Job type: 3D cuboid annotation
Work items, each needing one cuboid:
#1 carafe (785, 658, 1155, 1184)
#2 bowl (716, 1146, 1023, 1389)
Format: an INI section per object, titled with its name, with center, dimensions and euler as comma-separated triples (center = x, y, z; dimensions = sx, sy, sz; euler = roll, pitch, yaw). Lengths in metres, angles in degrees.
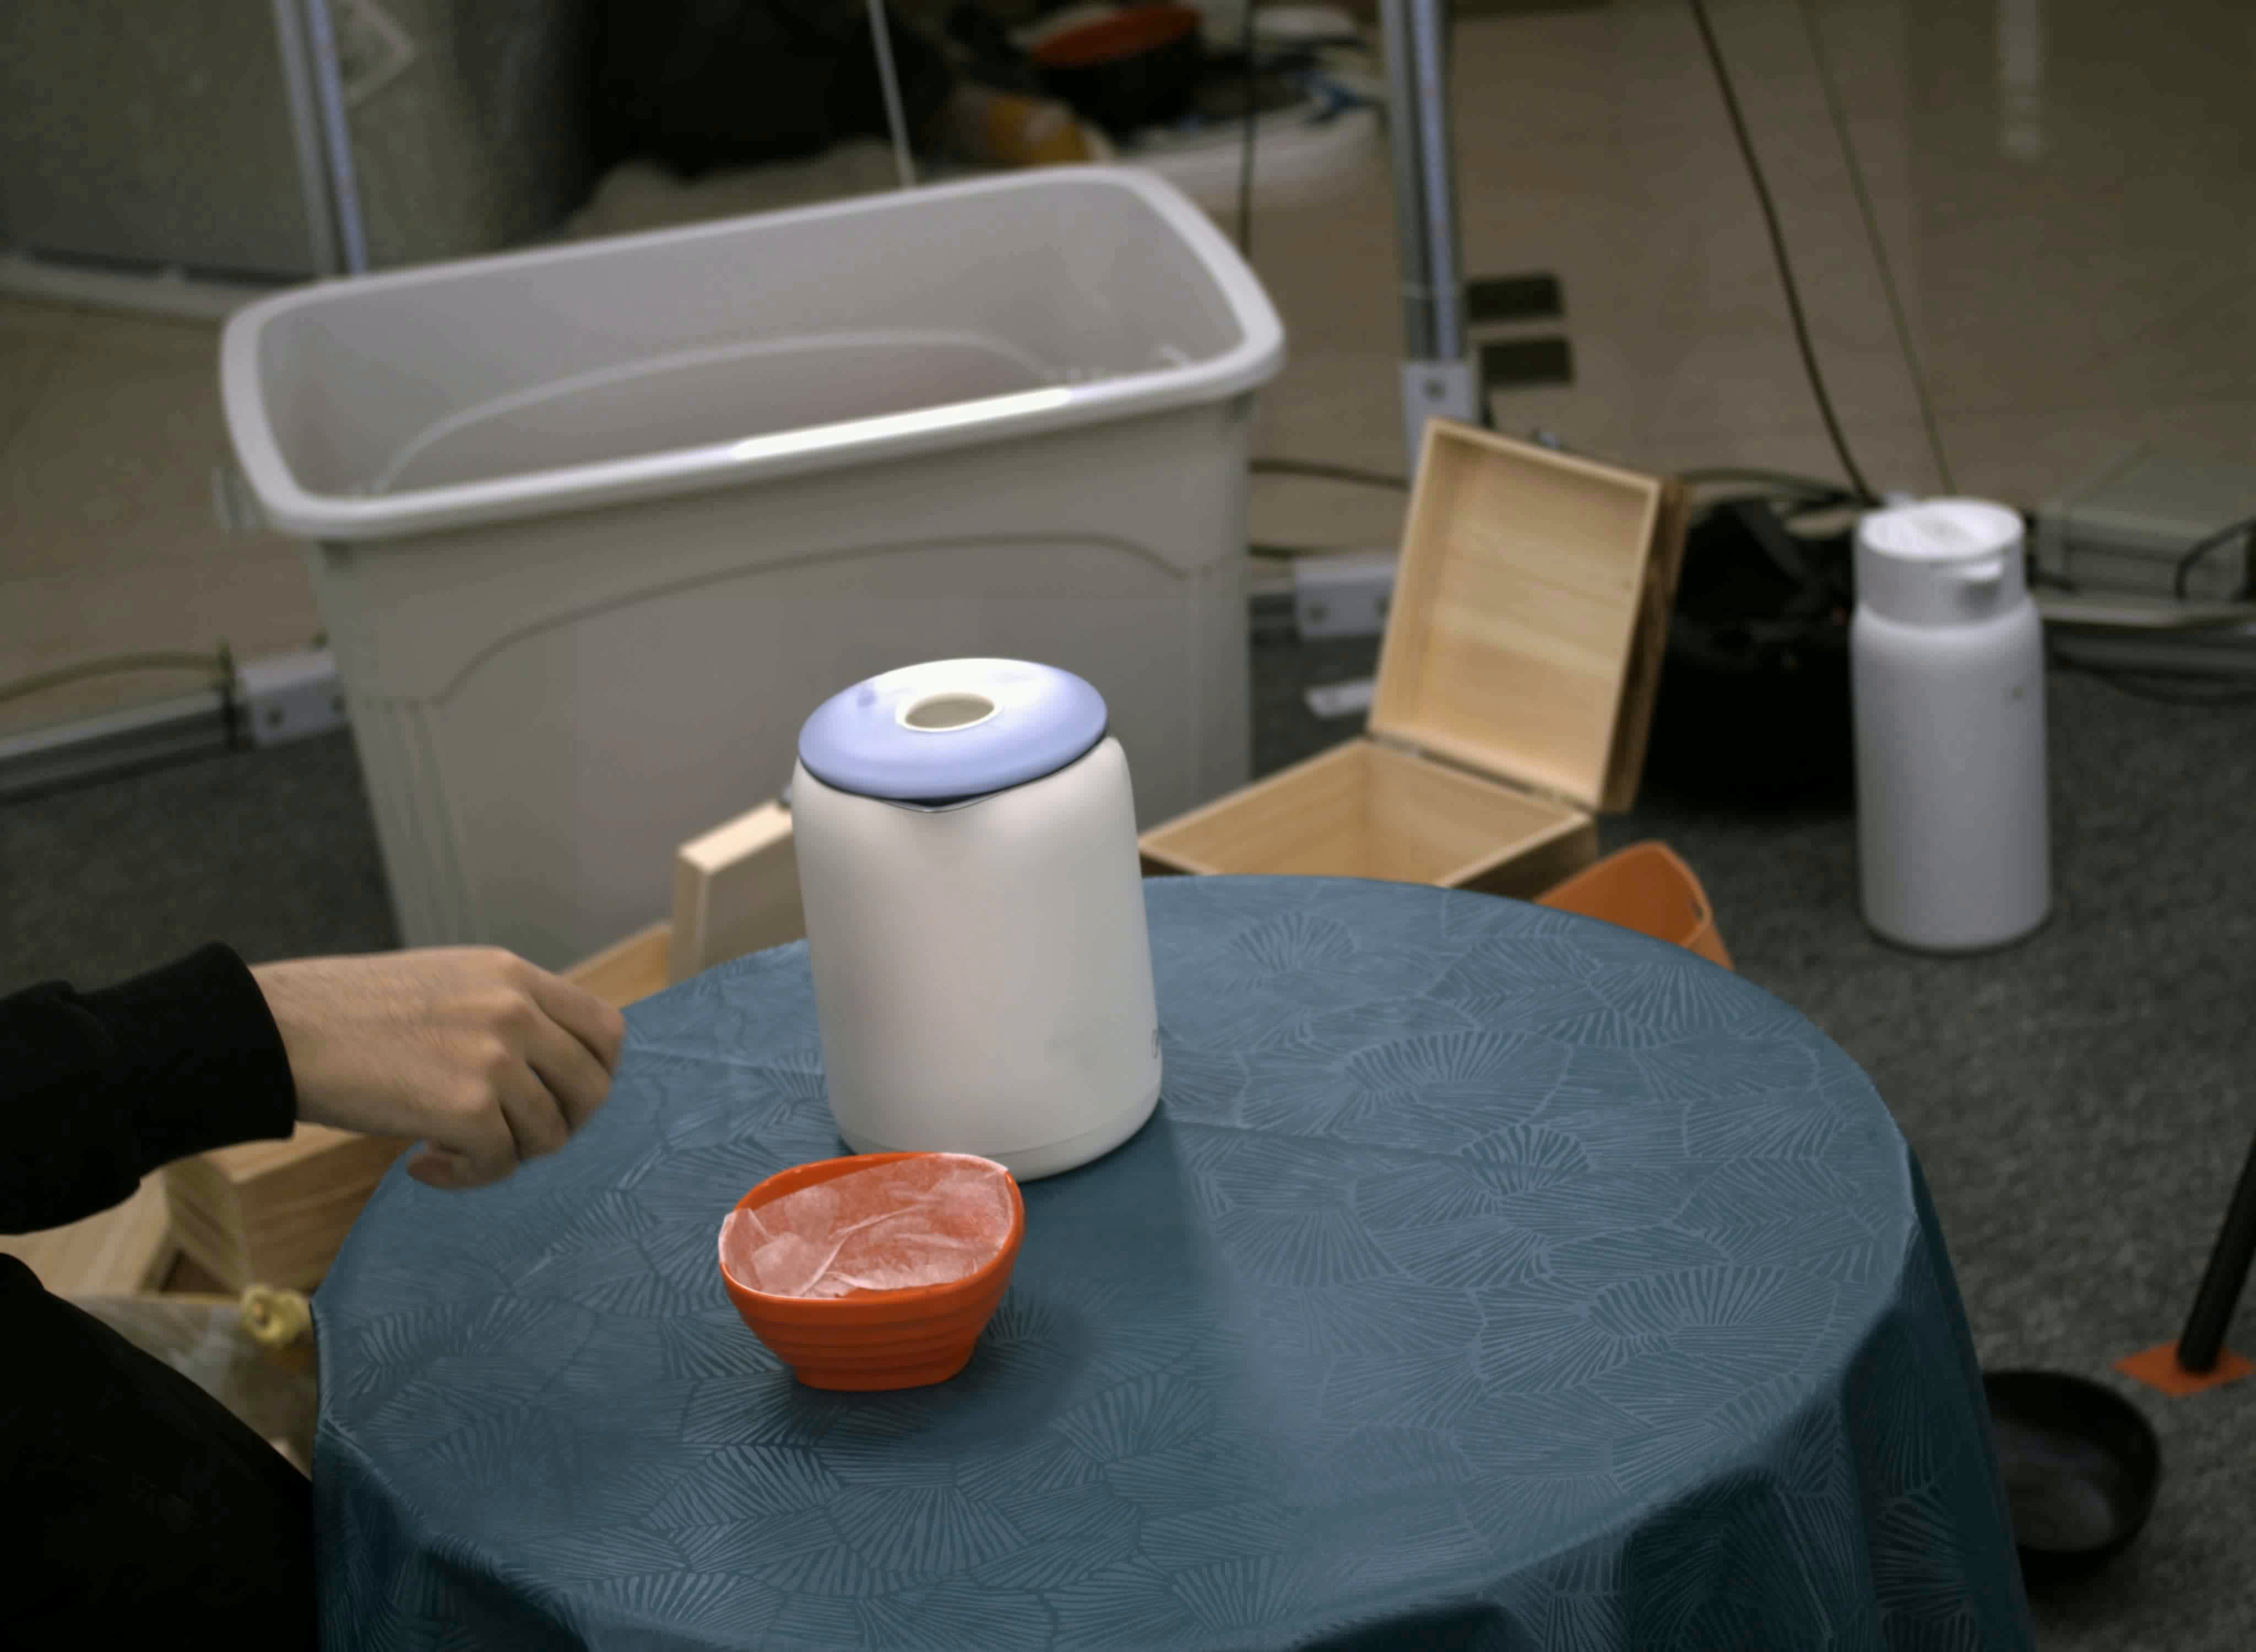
[carafe]
center = -0.060, 0.027, 2.195
dimensions = 0.132, 0.185, 0.188
euler = -4, 23, 3
[bowl]
center = -0.091, 0.164, 2.049
dimensions = 0.119, 0.052, 0.117
euler = -3, 27, 2
